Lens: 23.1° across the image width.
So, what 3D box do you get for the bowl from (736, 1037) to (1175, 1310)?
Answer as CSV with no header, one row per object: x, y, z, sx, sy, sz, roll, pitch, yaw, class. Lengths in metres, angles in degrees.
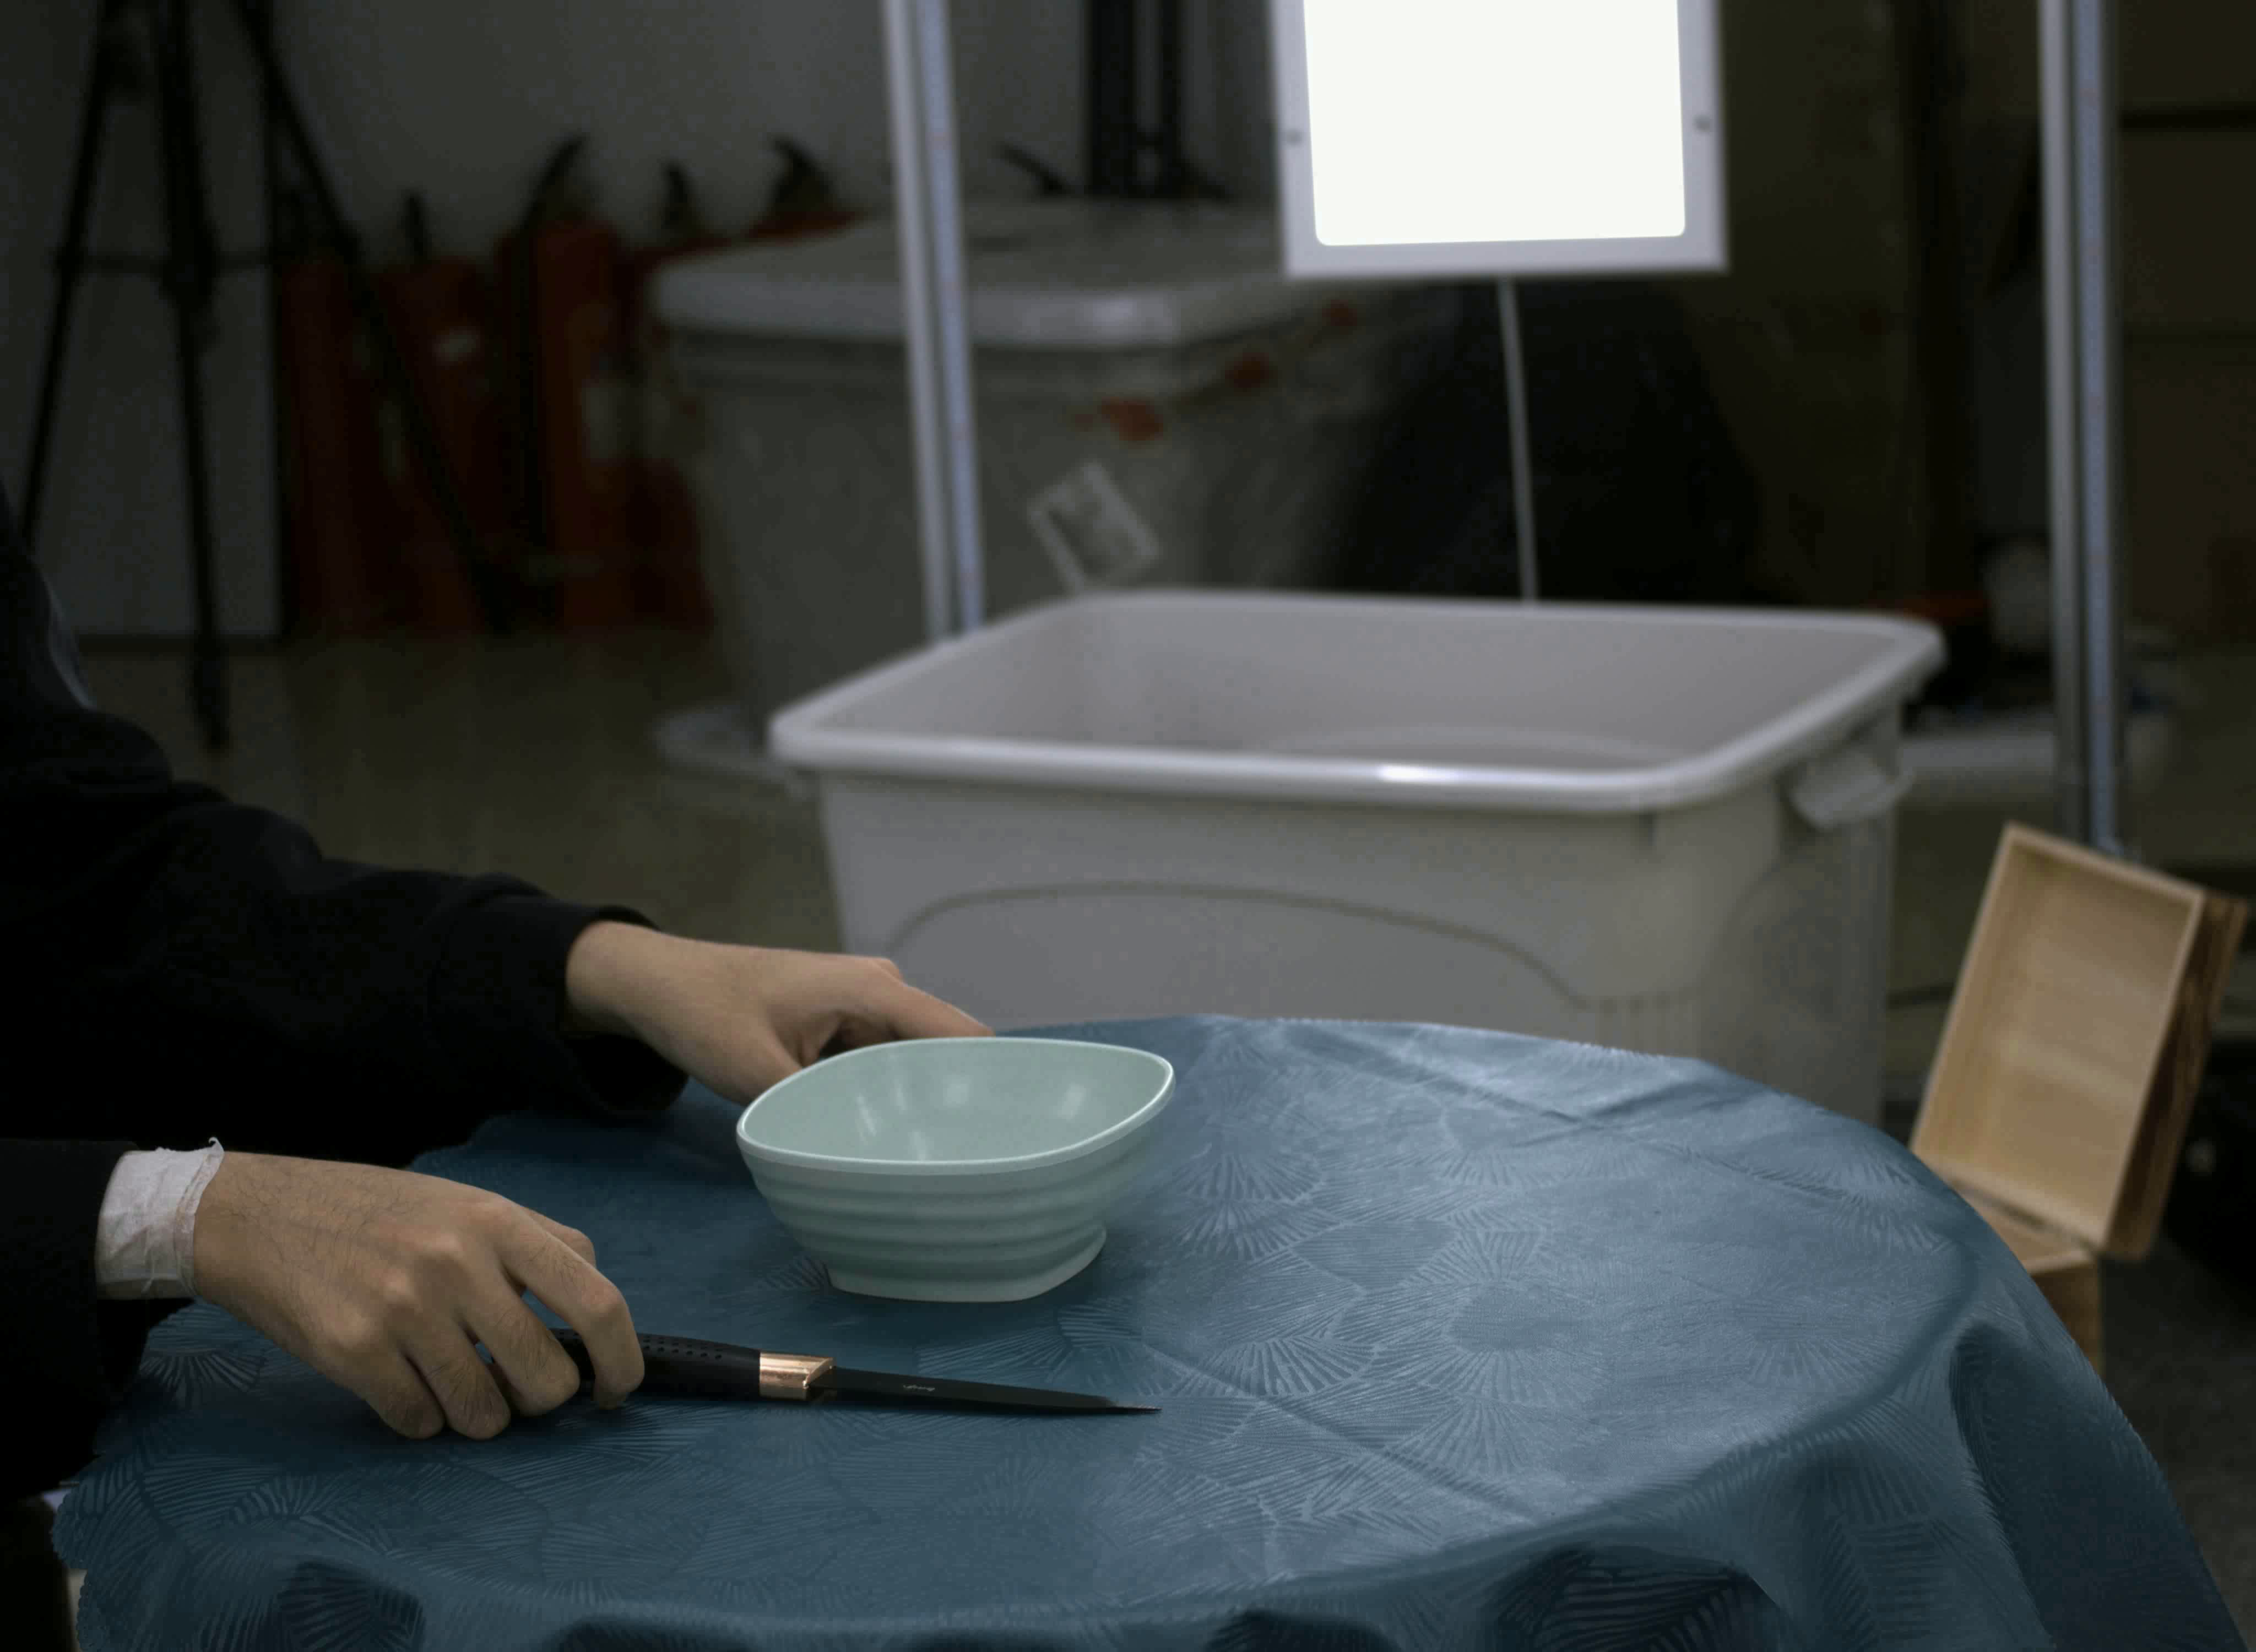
-0.055,0.119,1.833,0.151,0.059,0.151,-5,15,0,bowl

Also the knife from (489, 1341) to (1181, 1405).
-0.093,0.173,1.722,0.228,0.017,0.026,1,8,19,knife
